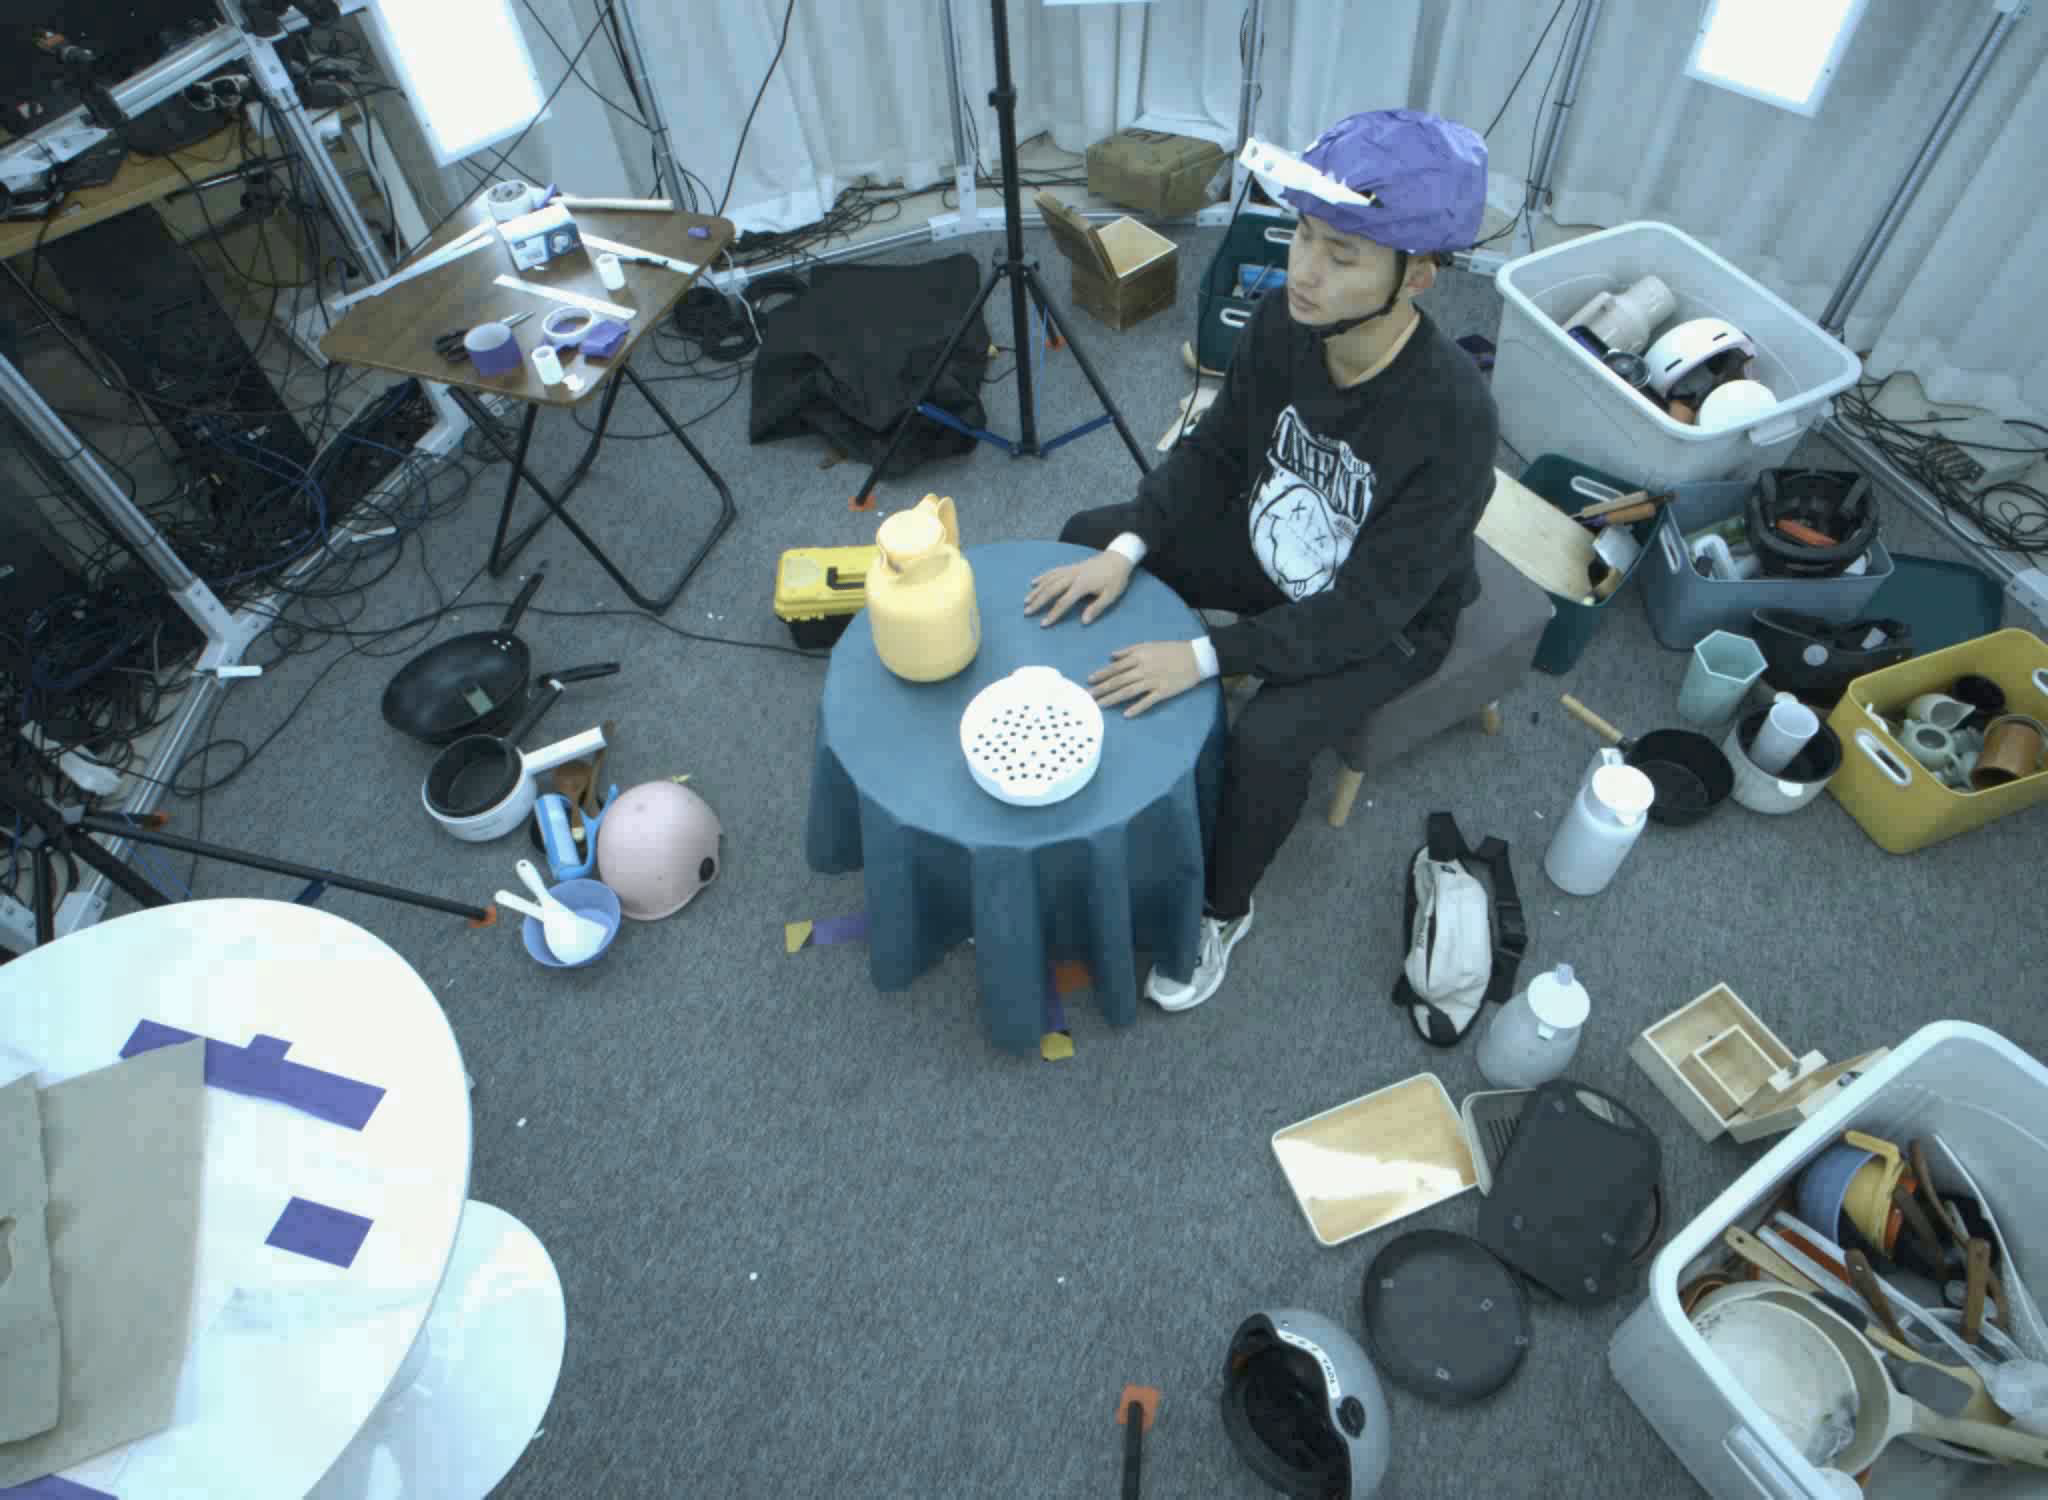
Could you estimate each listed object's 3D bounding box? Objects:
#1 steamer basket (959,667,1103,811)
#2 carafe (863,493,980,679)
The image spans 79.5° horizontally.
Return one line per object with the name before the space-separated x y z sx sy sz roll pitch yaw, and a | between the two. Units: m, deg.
steamer basket | 0.011 -0.010 1.748 0.202 0.070 0.228 2 57 2
carafe | -0.145 -0.248 1.802 0.162 0.263 0.202 18 59 13
